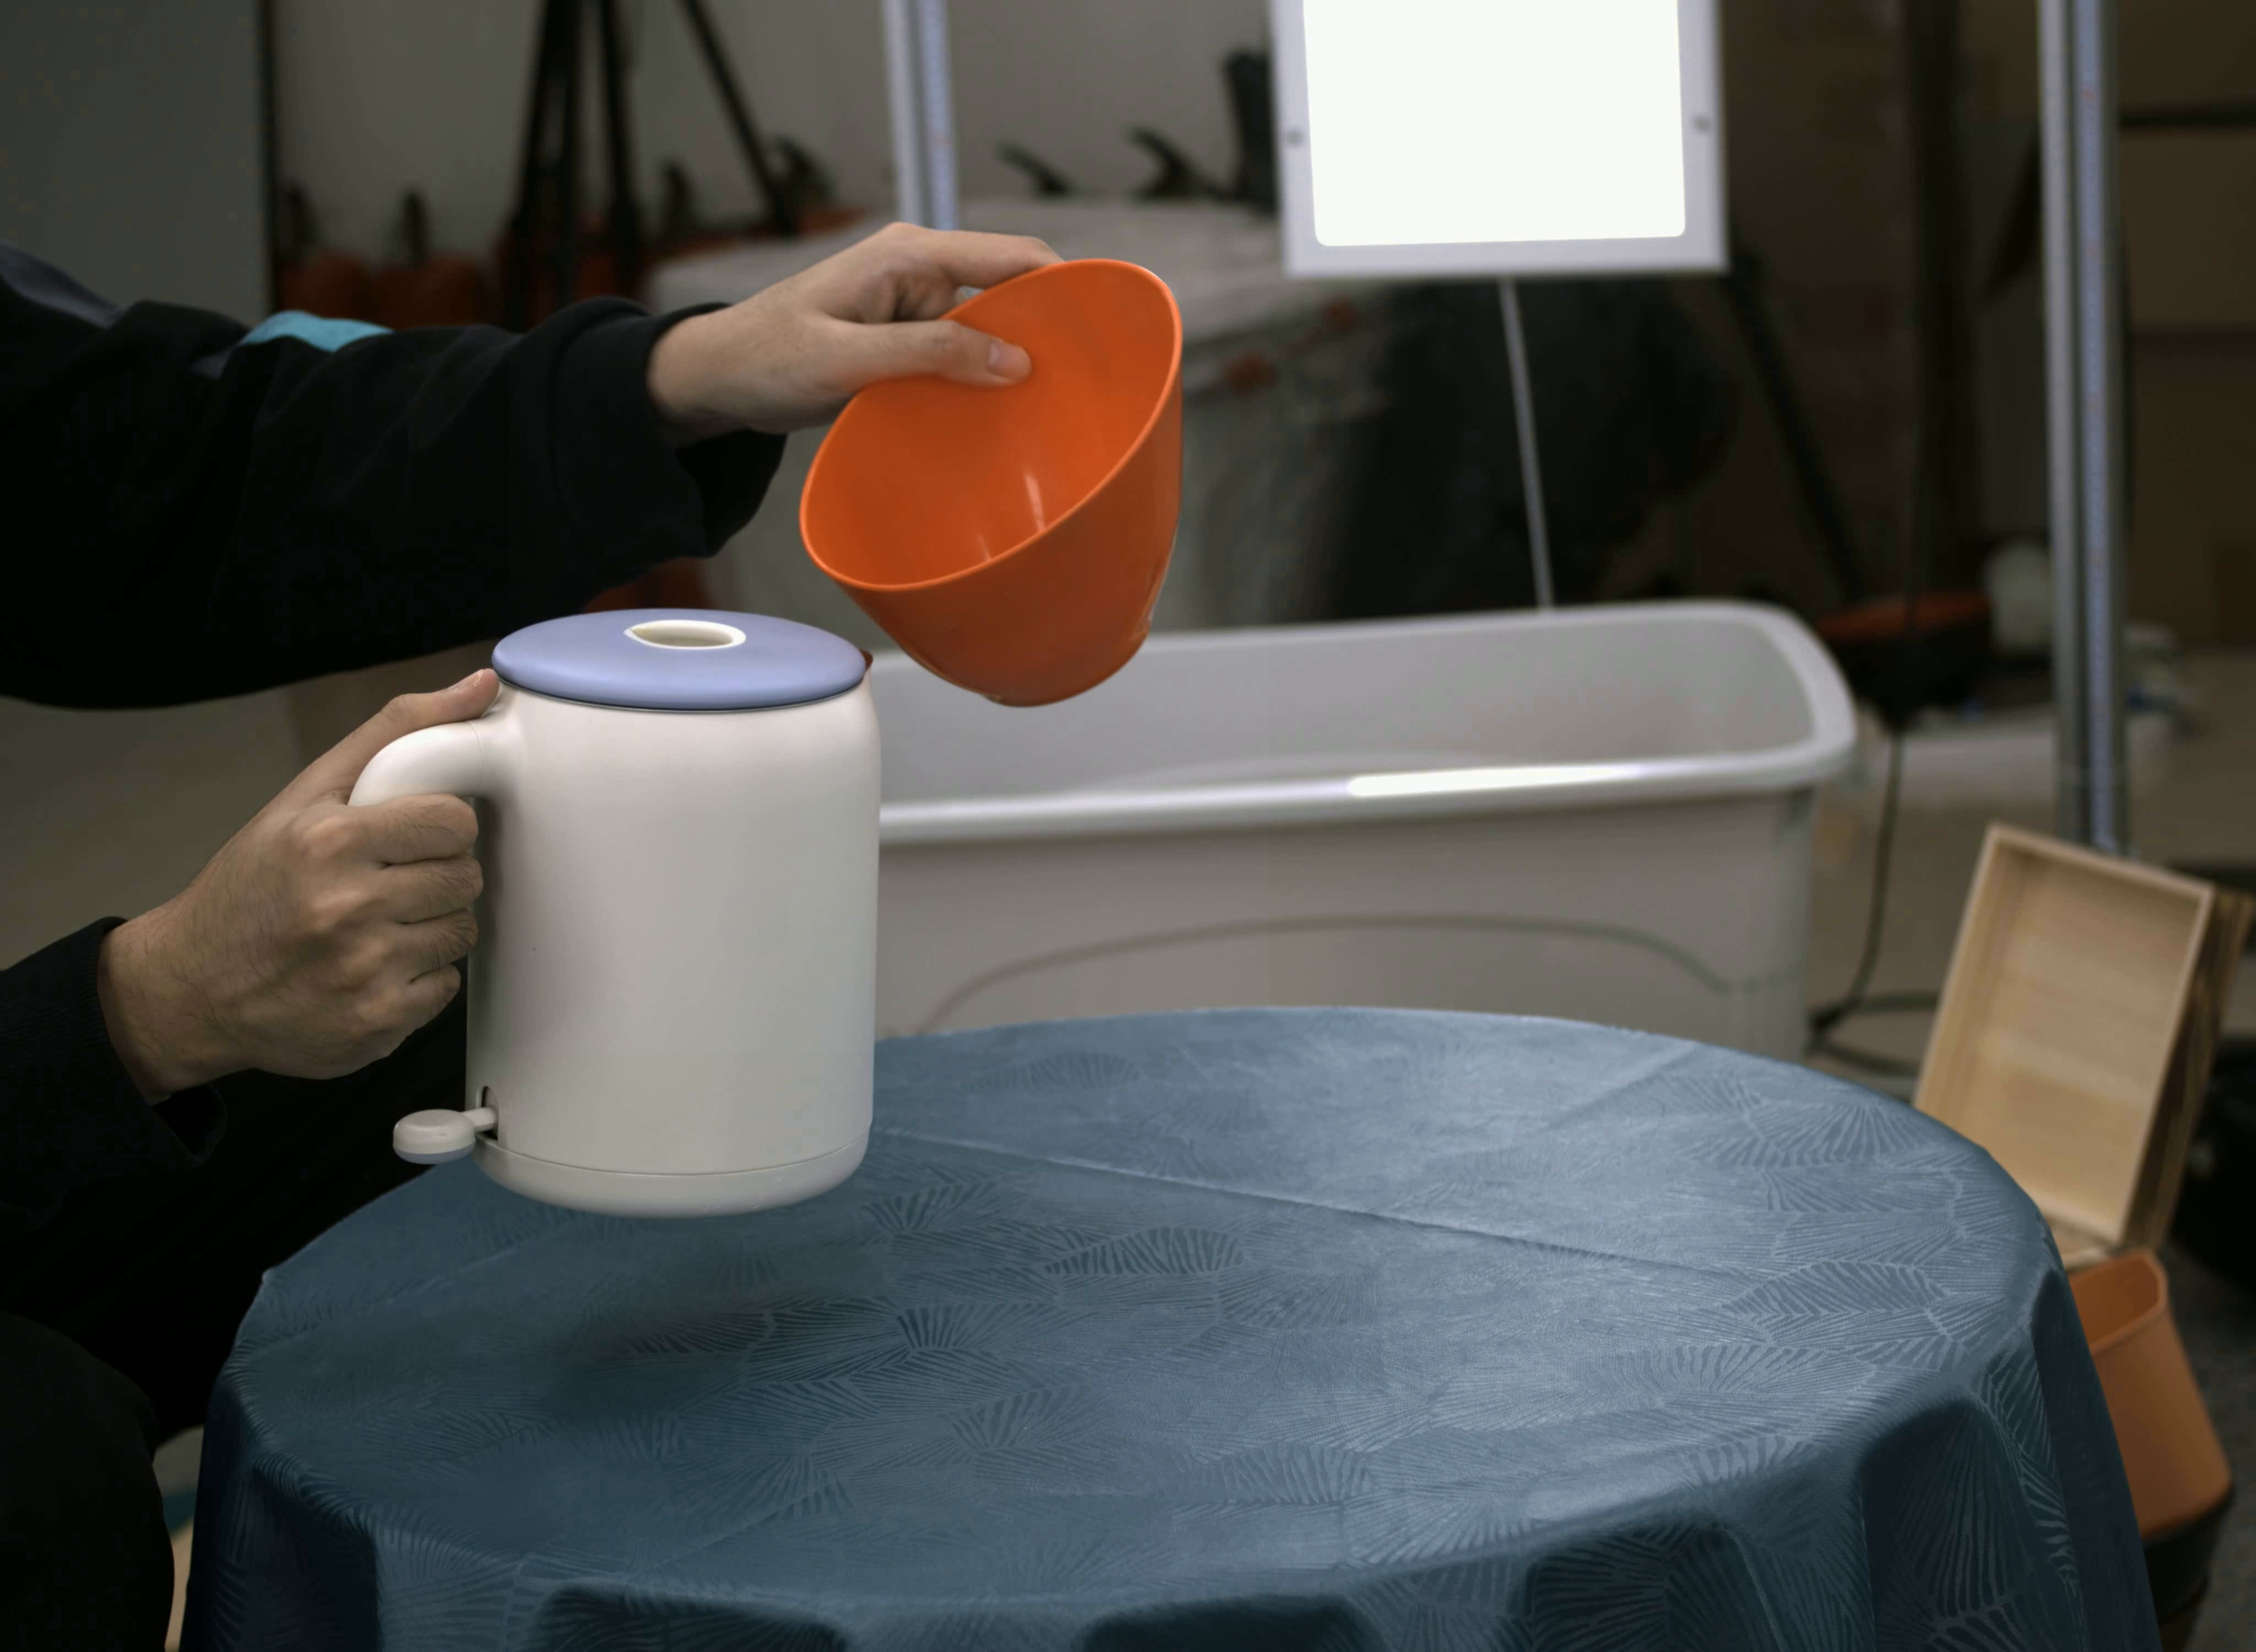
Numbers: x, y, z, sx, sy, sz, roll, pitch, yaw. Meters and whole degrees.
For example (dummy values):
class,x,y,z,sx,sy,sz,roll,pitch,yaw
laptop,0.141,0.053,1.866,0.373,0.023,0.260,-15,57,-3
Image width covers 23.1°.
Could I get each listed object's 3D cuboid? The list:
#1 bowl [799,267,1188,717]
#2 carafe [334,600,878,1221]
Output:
class,x,y,z,sx,sy,sz,roll,pitch,yaw
bowl,-0.030,-0.102,1.845,0.149,0.104,0.147,-19,36,12
carafe,-0.166,0.029,1.750,0.186,0.183,0.134,-10,18,-31
